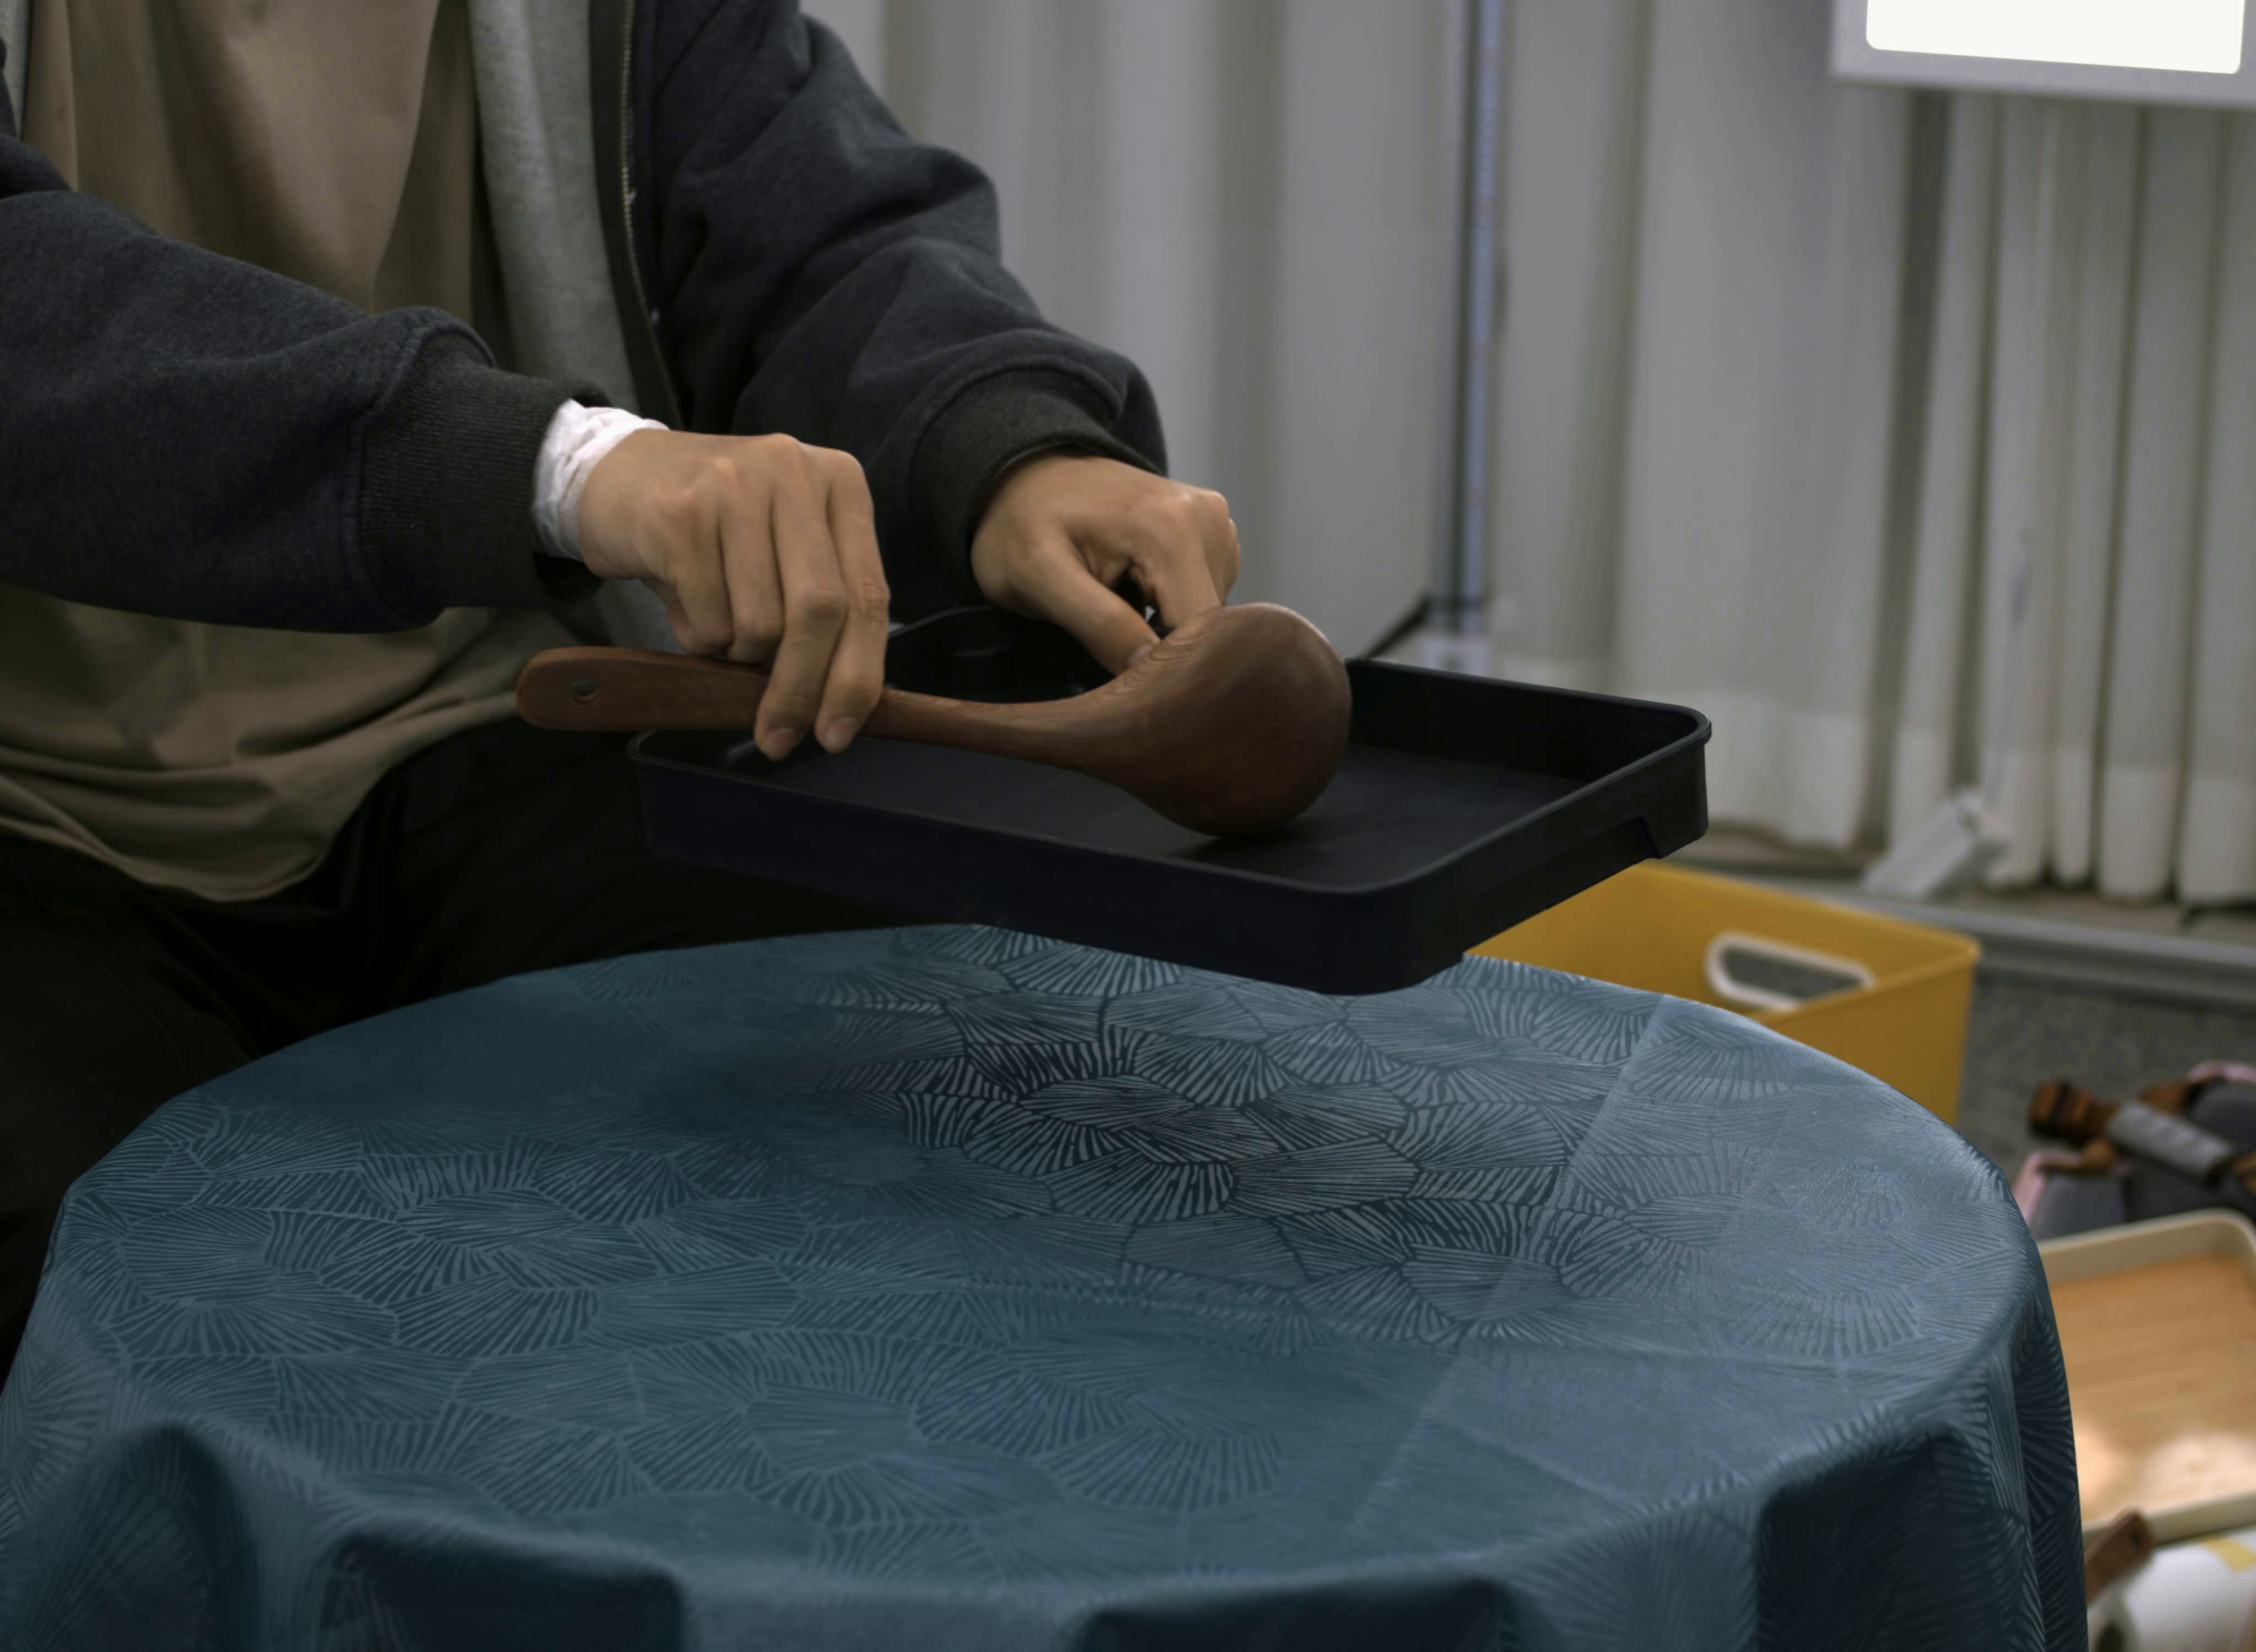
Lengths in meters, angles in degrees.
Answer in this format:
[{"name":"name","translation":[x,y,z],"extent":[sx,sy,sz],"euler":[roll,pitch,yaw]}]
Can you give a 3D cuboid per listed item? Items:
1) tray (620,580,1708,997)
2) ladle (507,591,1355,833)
[{"name":"tray","translation":[0.008,-0.017,1.645],"extent":[0.314,0.037,0.185],"euler":[13,26,39]},{"name":"ladle","translation":[-0.060,-0.041,1.630],"extent":[0.258,0.077,0.065],"euler":[4,17,8]}]
